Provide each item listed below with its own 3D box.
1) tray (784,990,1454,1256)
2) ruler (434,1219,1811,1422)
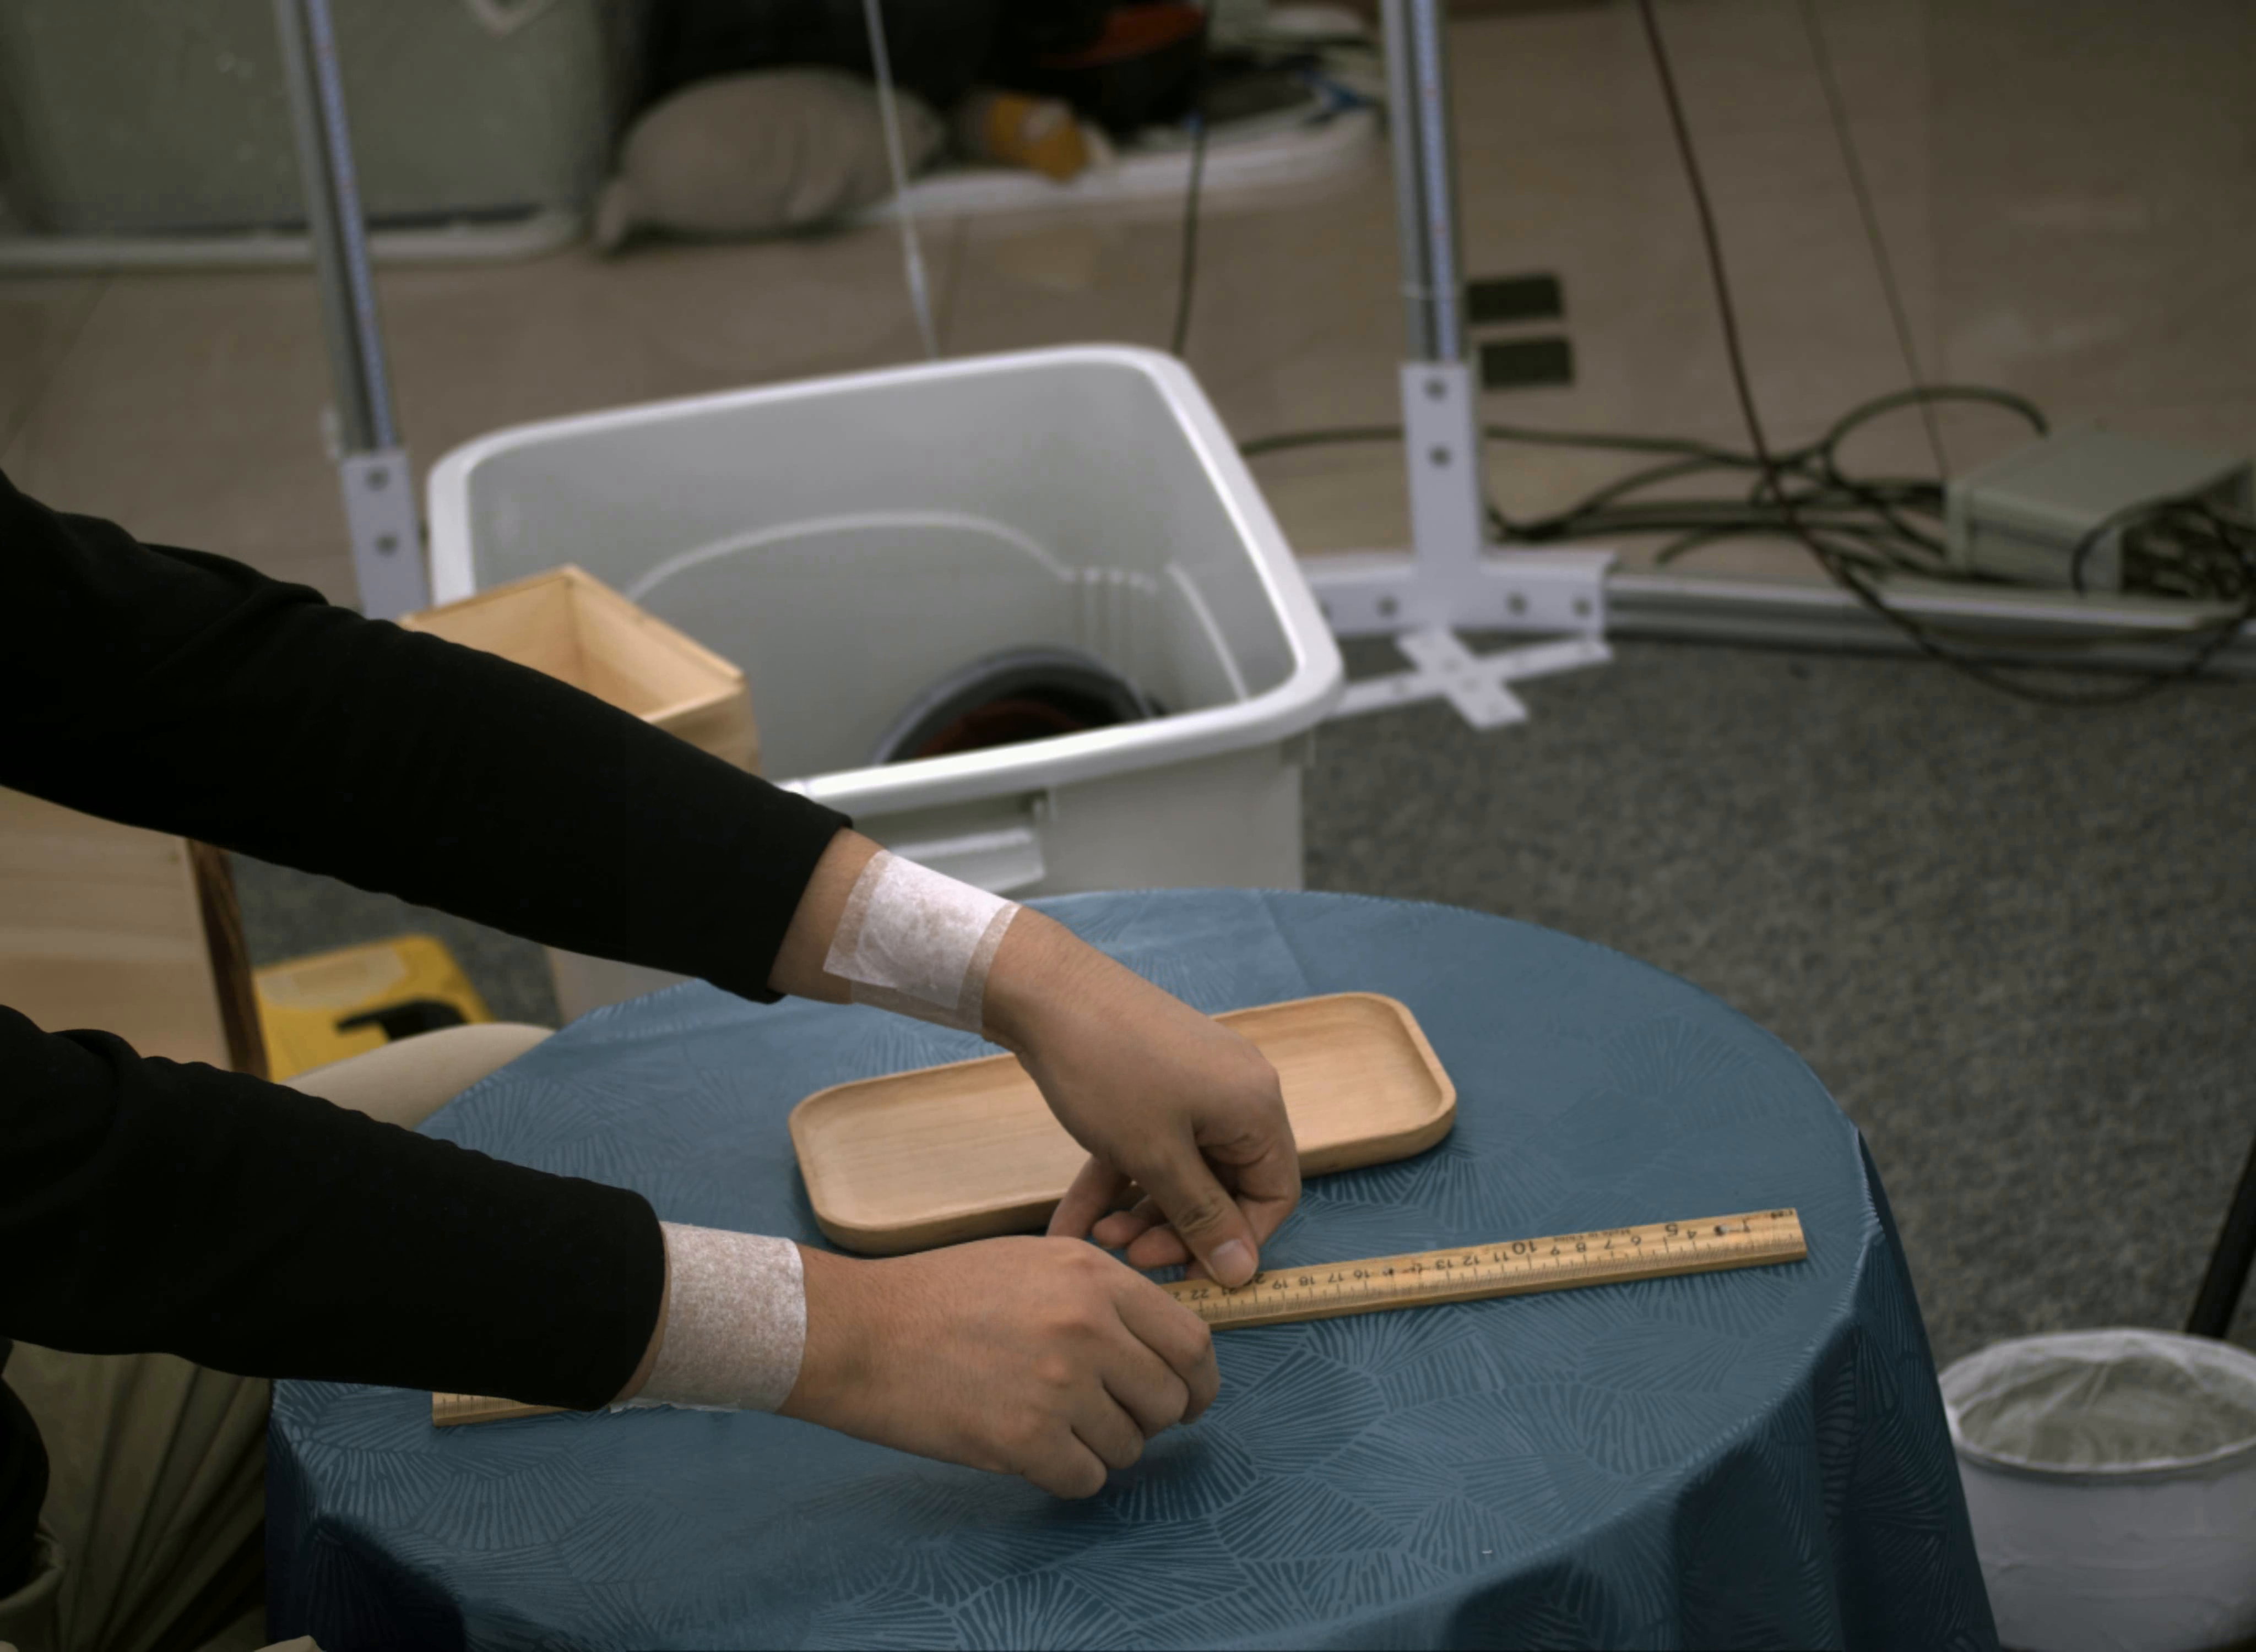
[{"bbox_3d":[-0.004,0.114,2.183,0.250,0.023,0.129,-11,23,-6],"label":"tray"},{"bbox_3d":[-0.003,0.178,2.054,0.499,0.006,0.026,-6,35,0],"label":"ruler"}]
